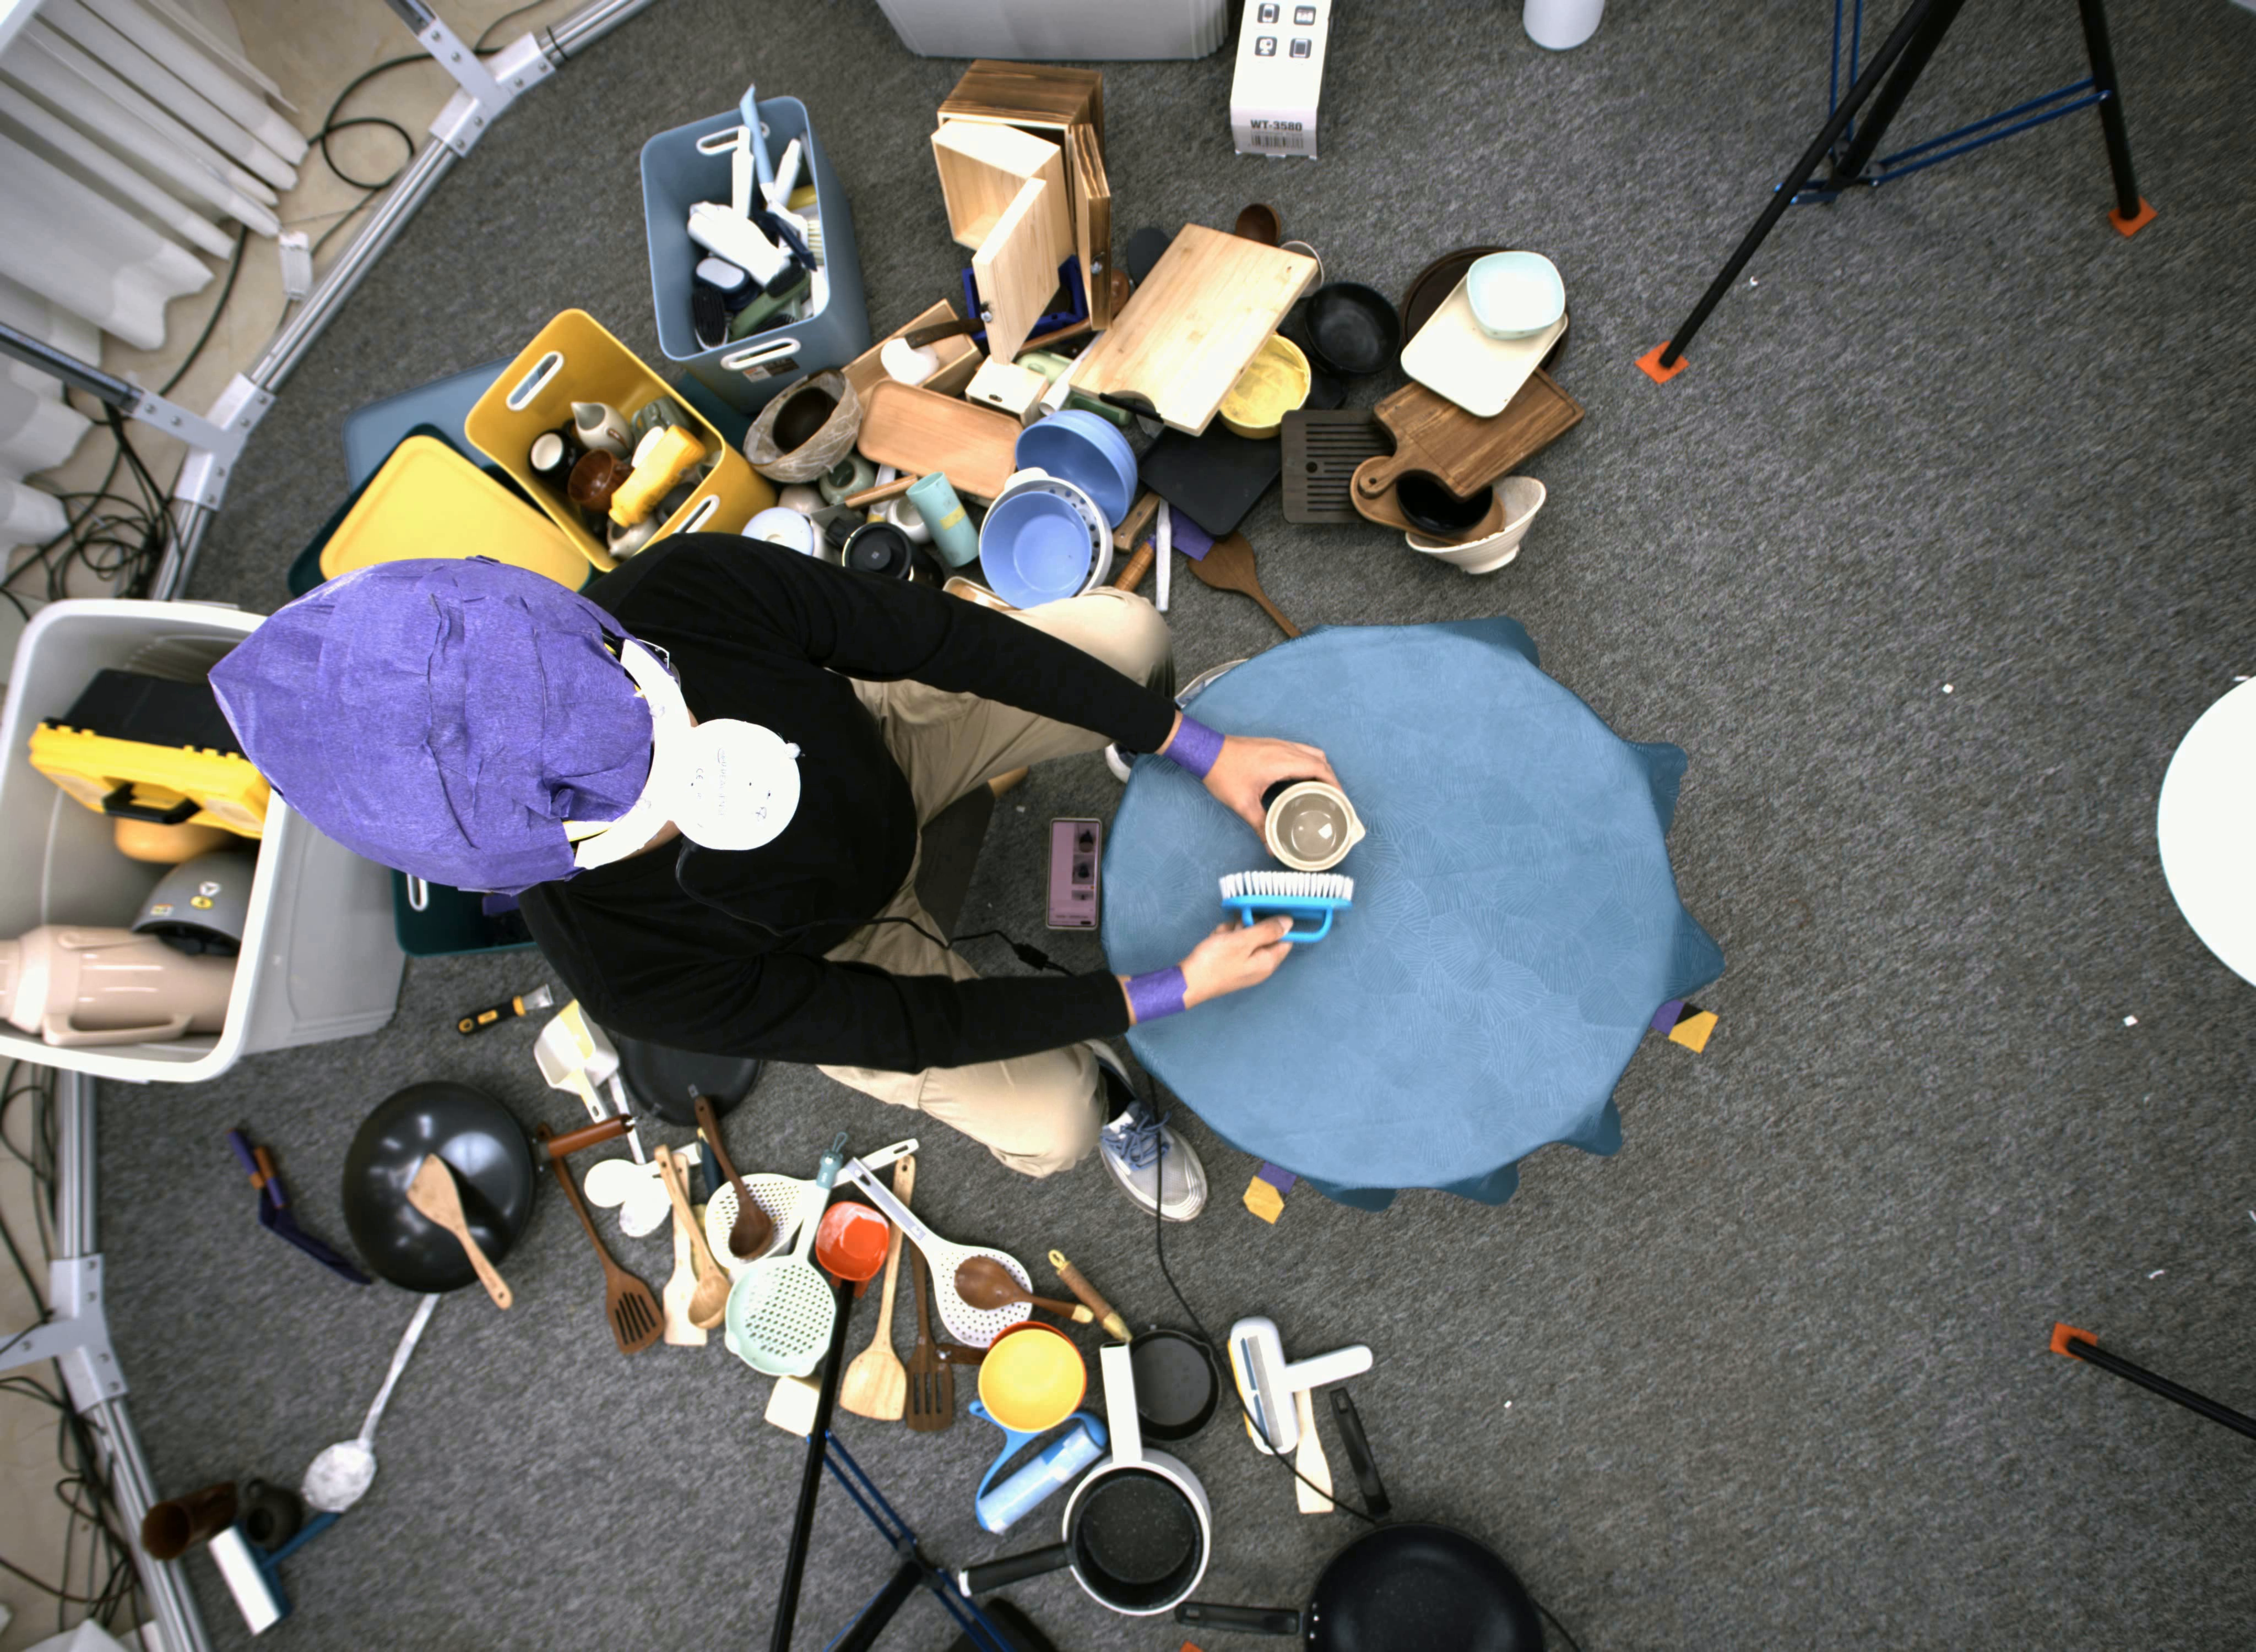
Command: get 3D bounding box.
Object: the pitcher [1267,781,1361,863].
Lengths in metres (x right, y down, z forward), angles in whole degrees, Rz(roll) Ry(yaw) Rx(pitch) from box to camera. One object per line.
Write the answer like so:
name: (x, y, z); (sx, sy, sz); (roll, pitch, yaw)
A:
pitcher: (0.193, 0.000, 1.438); (0.096, 0.071, 0.083); (13, 85, 9)

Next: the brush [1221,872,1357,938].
brush: (0.164, 0.082, 1.423); (0.142, 0.085, 0.063); (3, 83, -9)
